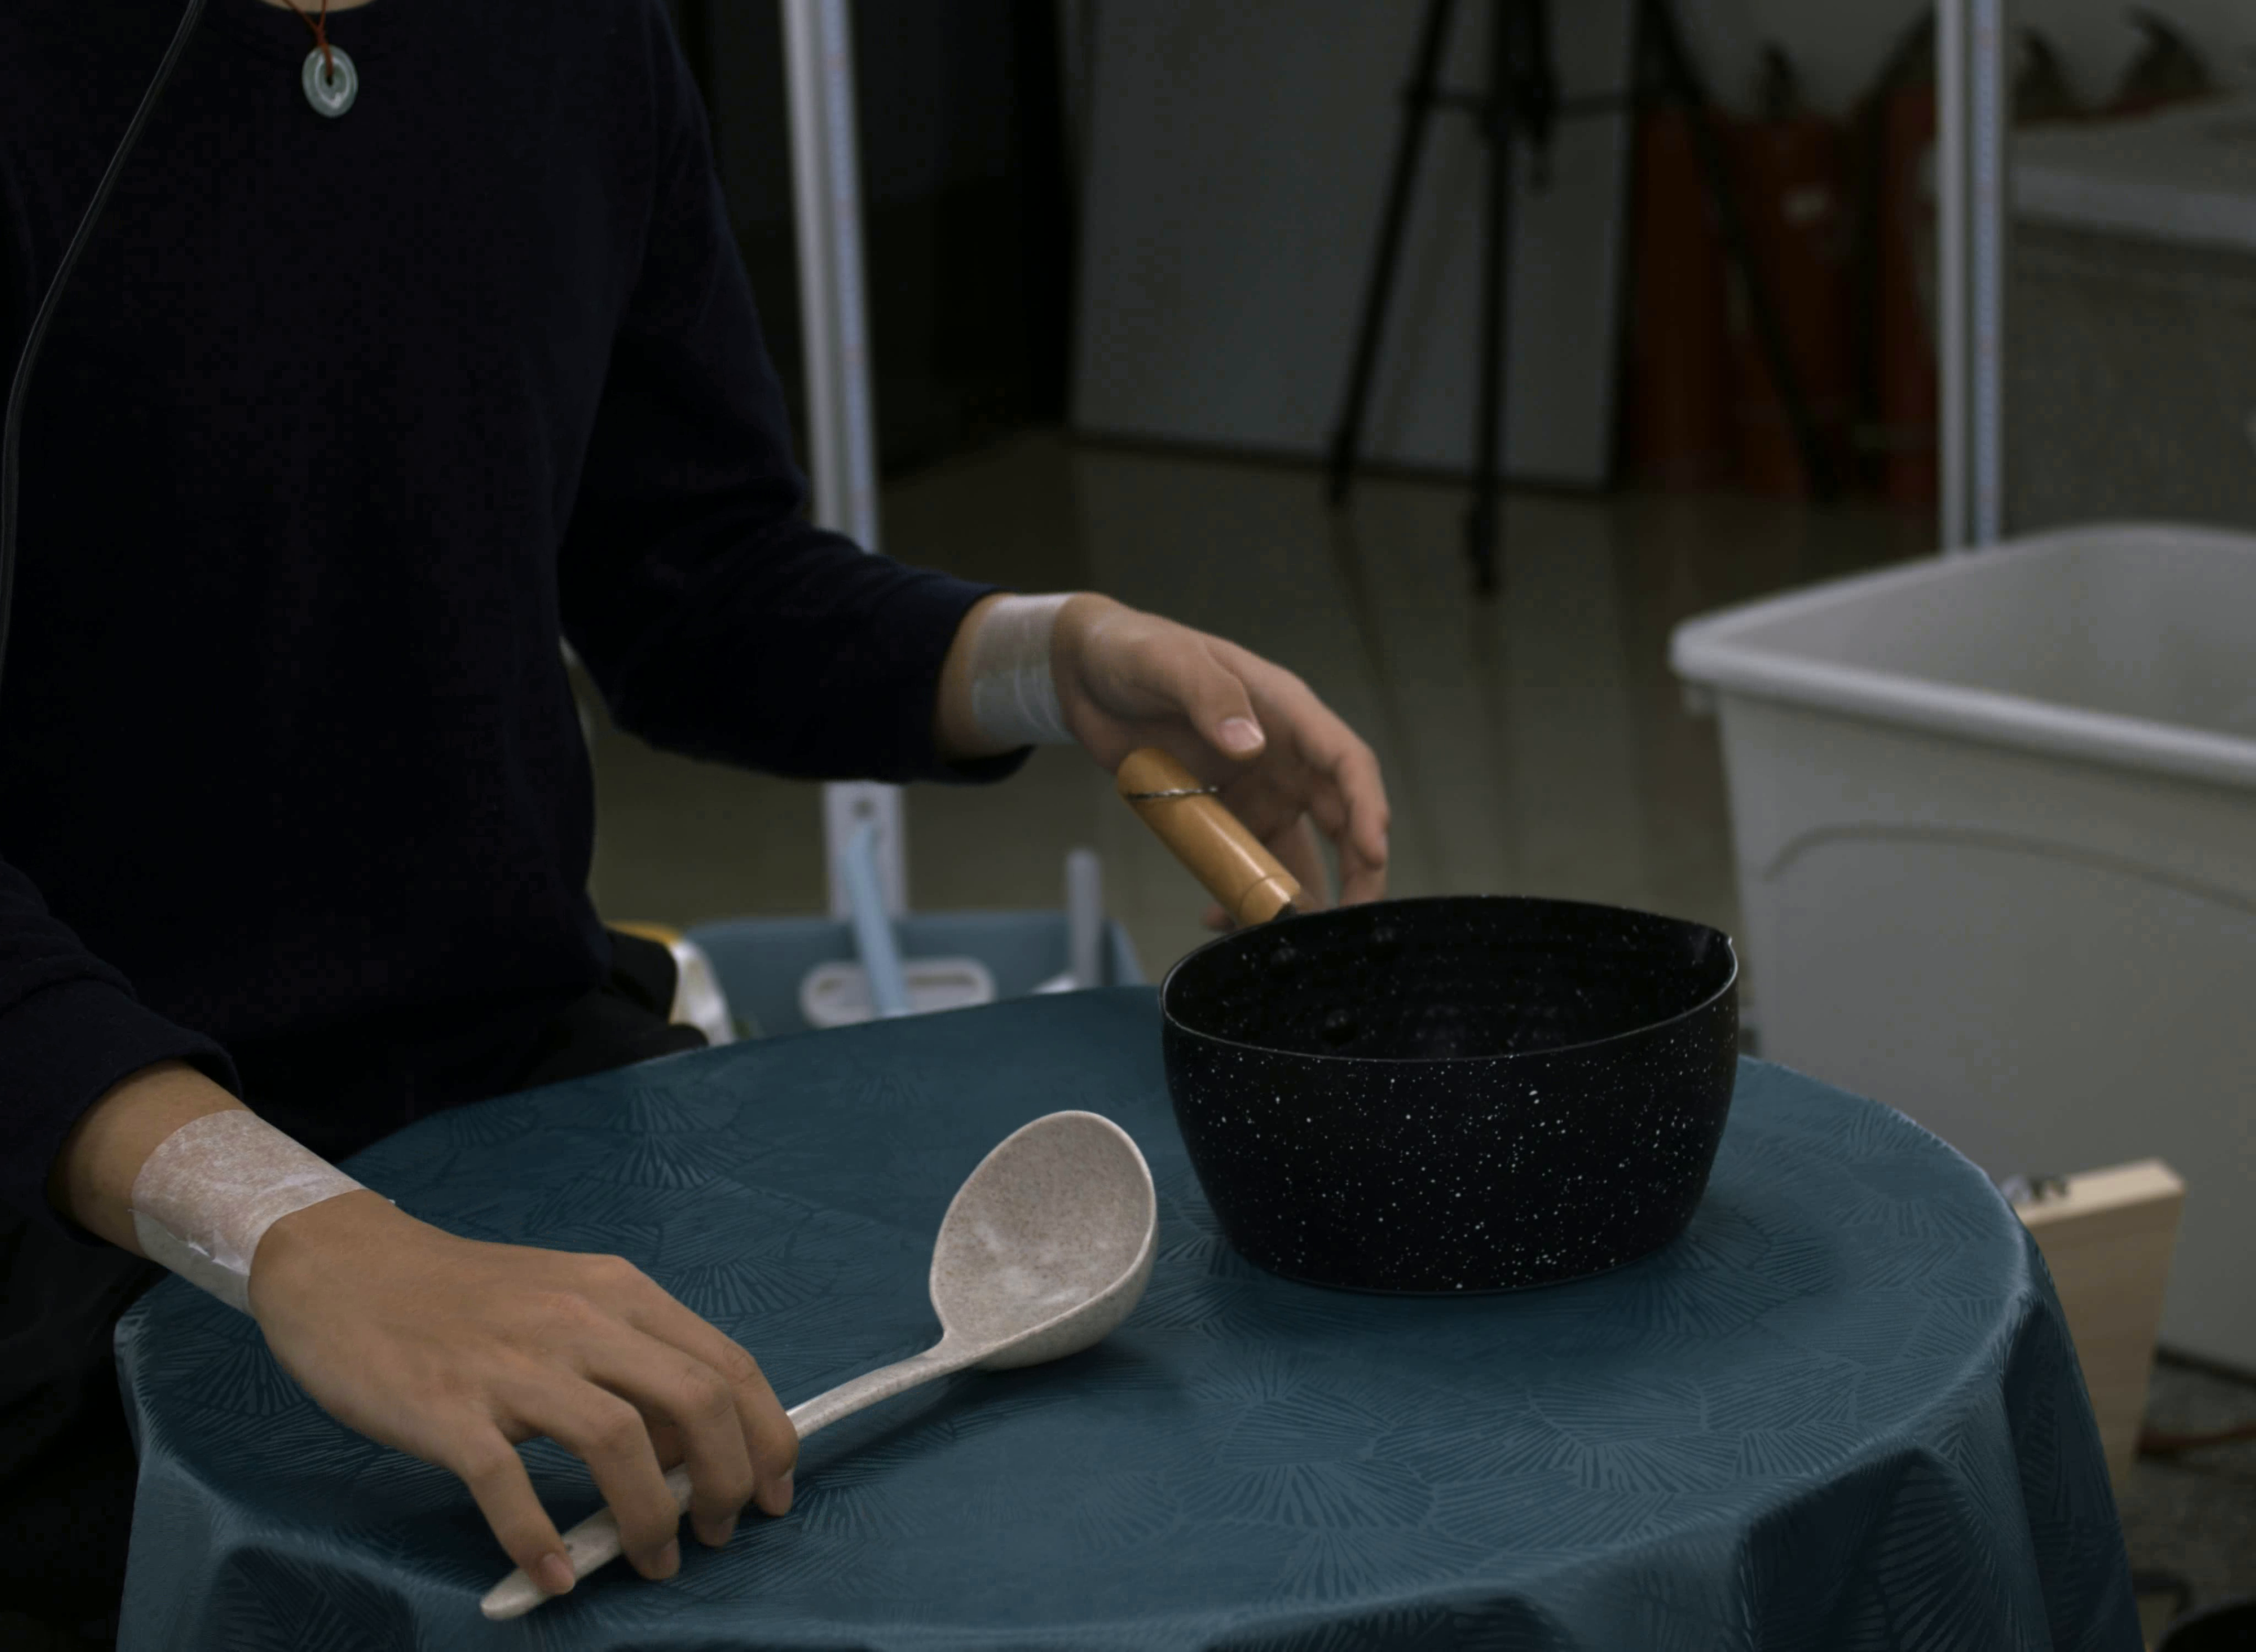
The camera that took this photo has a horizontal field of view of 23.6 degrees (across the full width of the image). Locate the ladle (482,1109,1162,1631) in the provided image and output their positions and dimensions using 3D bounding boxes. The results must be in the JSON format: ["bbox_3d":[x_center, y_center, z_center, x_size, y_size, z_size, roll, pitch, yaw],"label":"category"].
[{"bbox_3d":[-0.091,0.150,1.539,0.090,0.070,0.270,-2,12,40],"label":"ladle"}]

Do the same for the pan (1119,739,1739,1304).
[{"bbox_3d":[0.071,0.059,1.776,0.203,0.109,0.346,-11,16,-21],"label":"pan"}]
